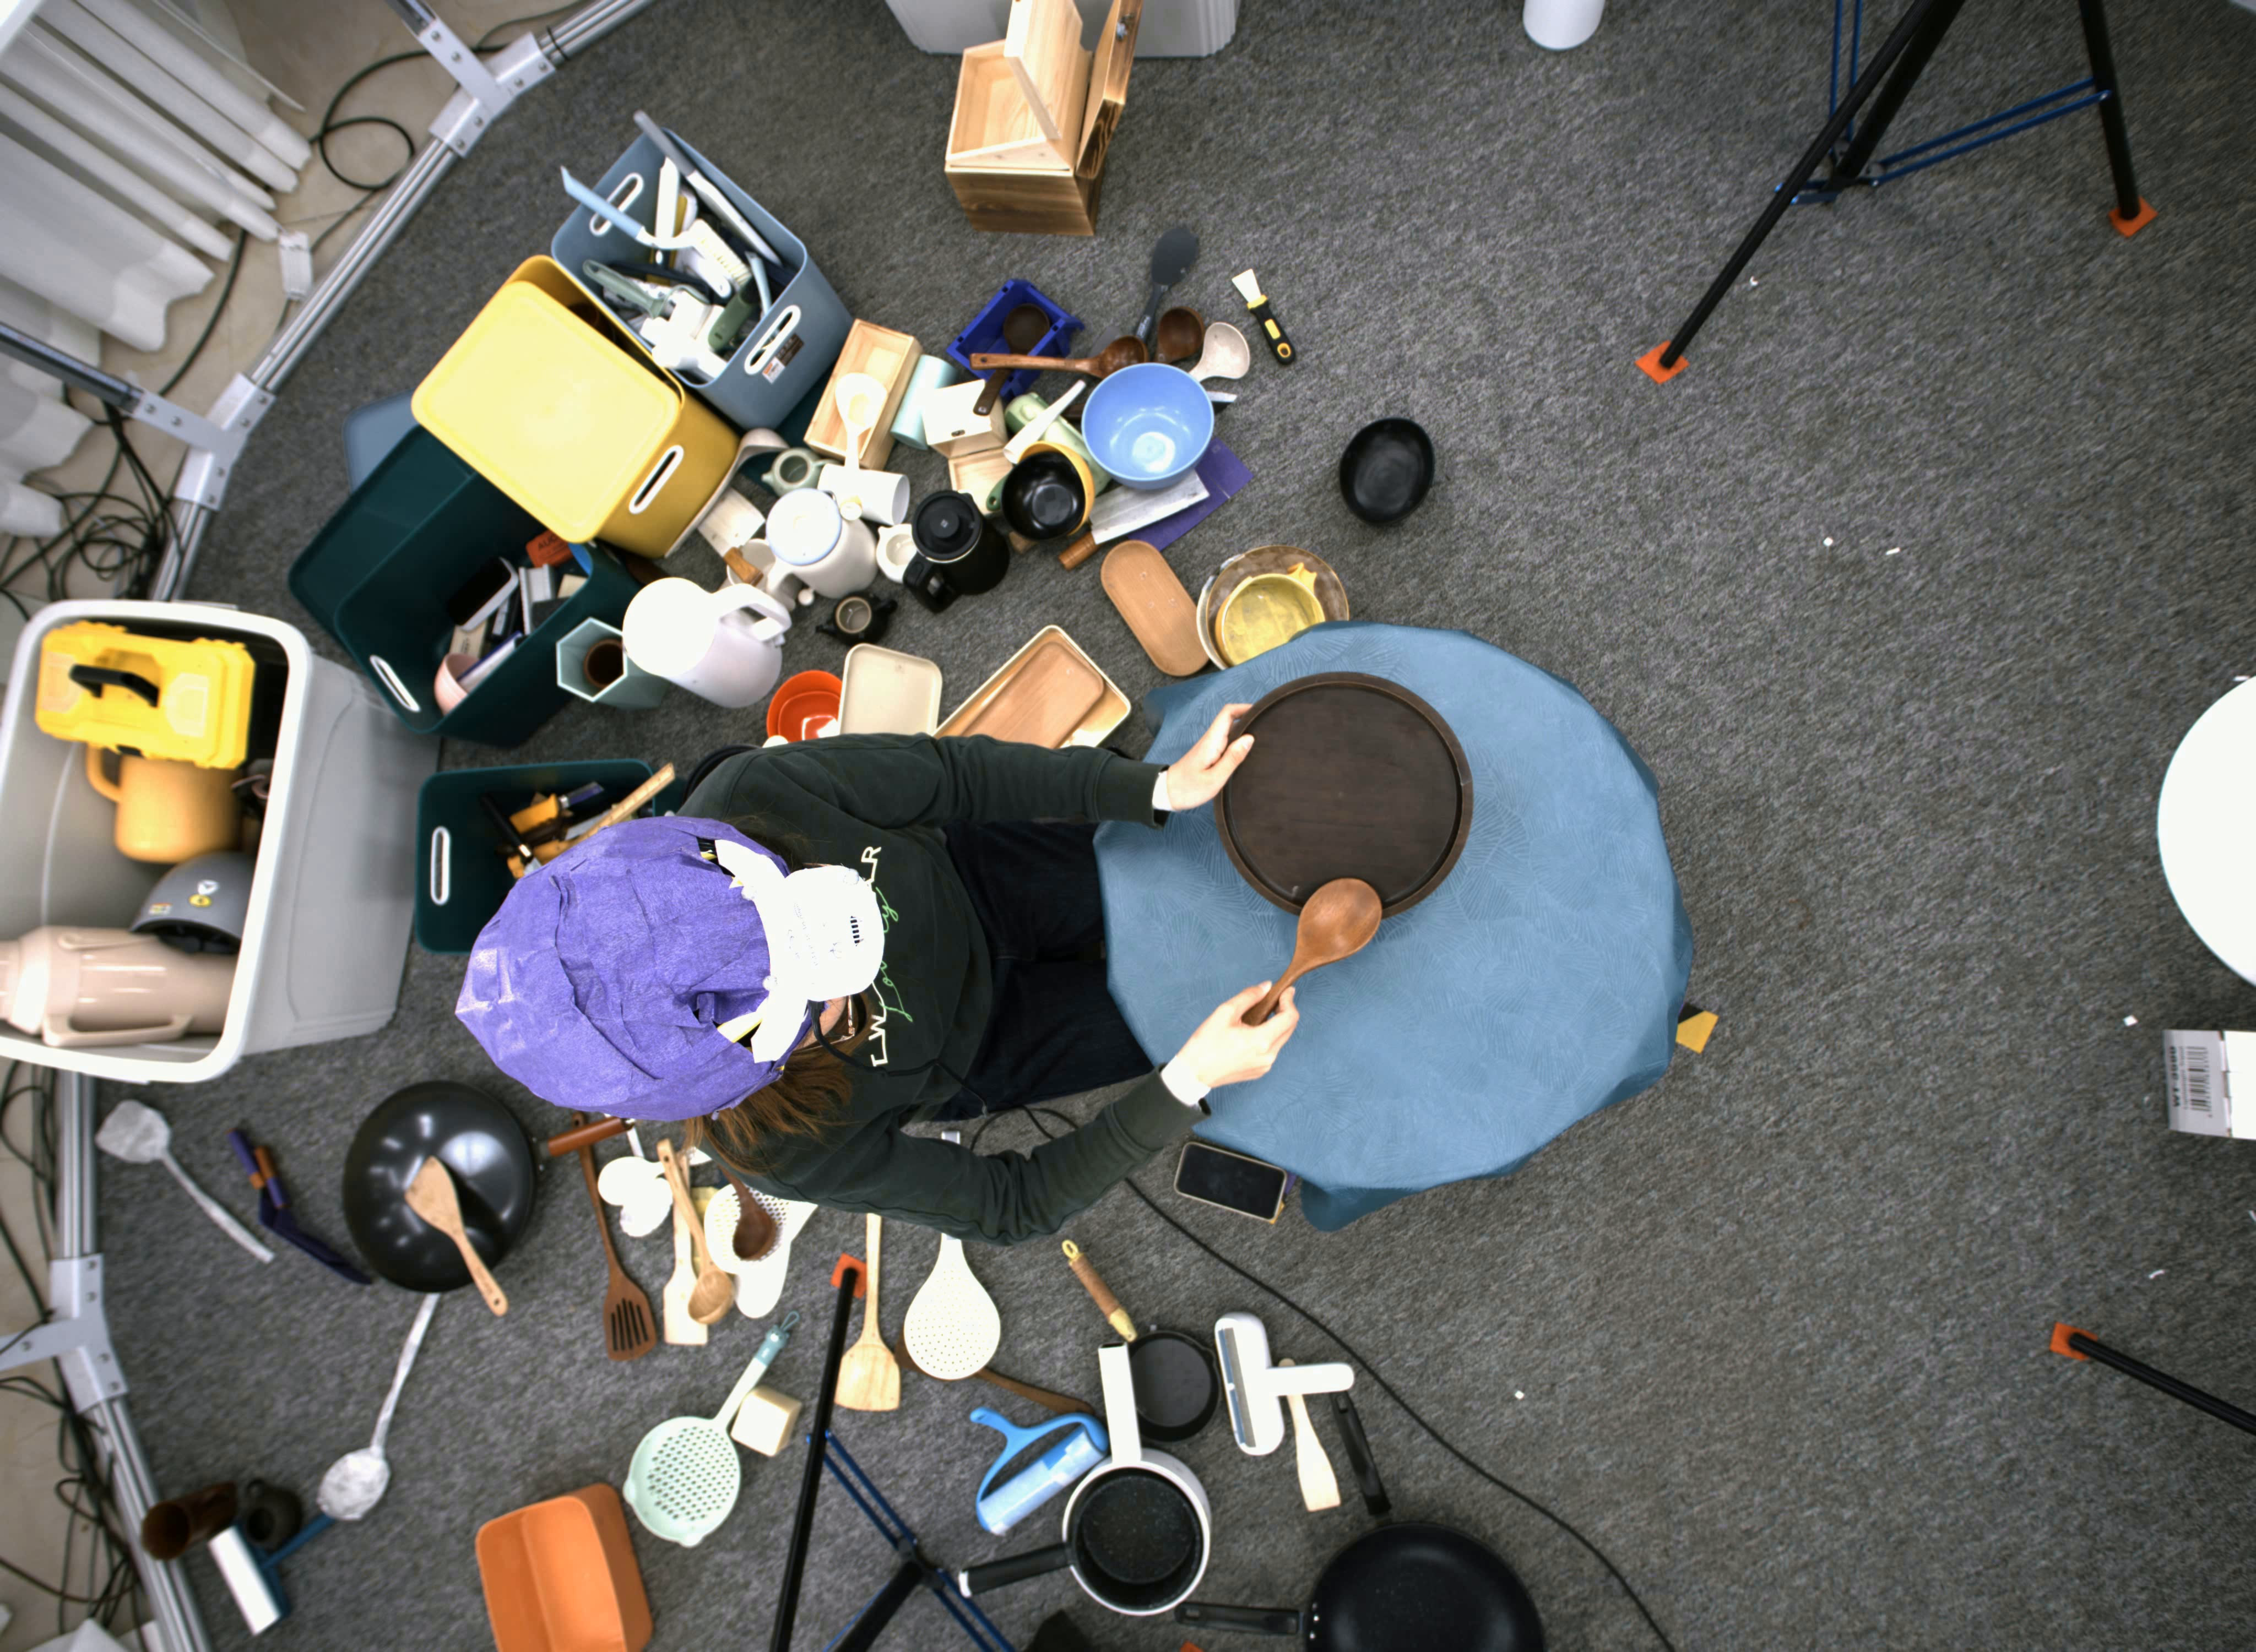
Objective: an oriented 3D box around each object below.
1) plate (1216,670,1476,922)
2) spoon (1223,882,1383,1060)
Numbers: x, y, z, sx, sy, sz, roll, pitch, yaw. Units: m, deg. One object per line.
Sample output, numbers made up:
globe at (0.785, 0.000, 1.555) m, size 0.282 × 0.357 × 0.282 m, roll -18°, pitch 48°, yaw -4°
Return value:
plate at (0.211, -0.028, 1.349) m, size 0.256 × 0.028 × 0.258 m, roll 3°, pitch 105°, yaw 13°
spoon at (0.166, 0.141, 1.344) m, size 0.075 × 0.017 × 0.214 m, roll 38°, pitch 79°, yaw 22°
